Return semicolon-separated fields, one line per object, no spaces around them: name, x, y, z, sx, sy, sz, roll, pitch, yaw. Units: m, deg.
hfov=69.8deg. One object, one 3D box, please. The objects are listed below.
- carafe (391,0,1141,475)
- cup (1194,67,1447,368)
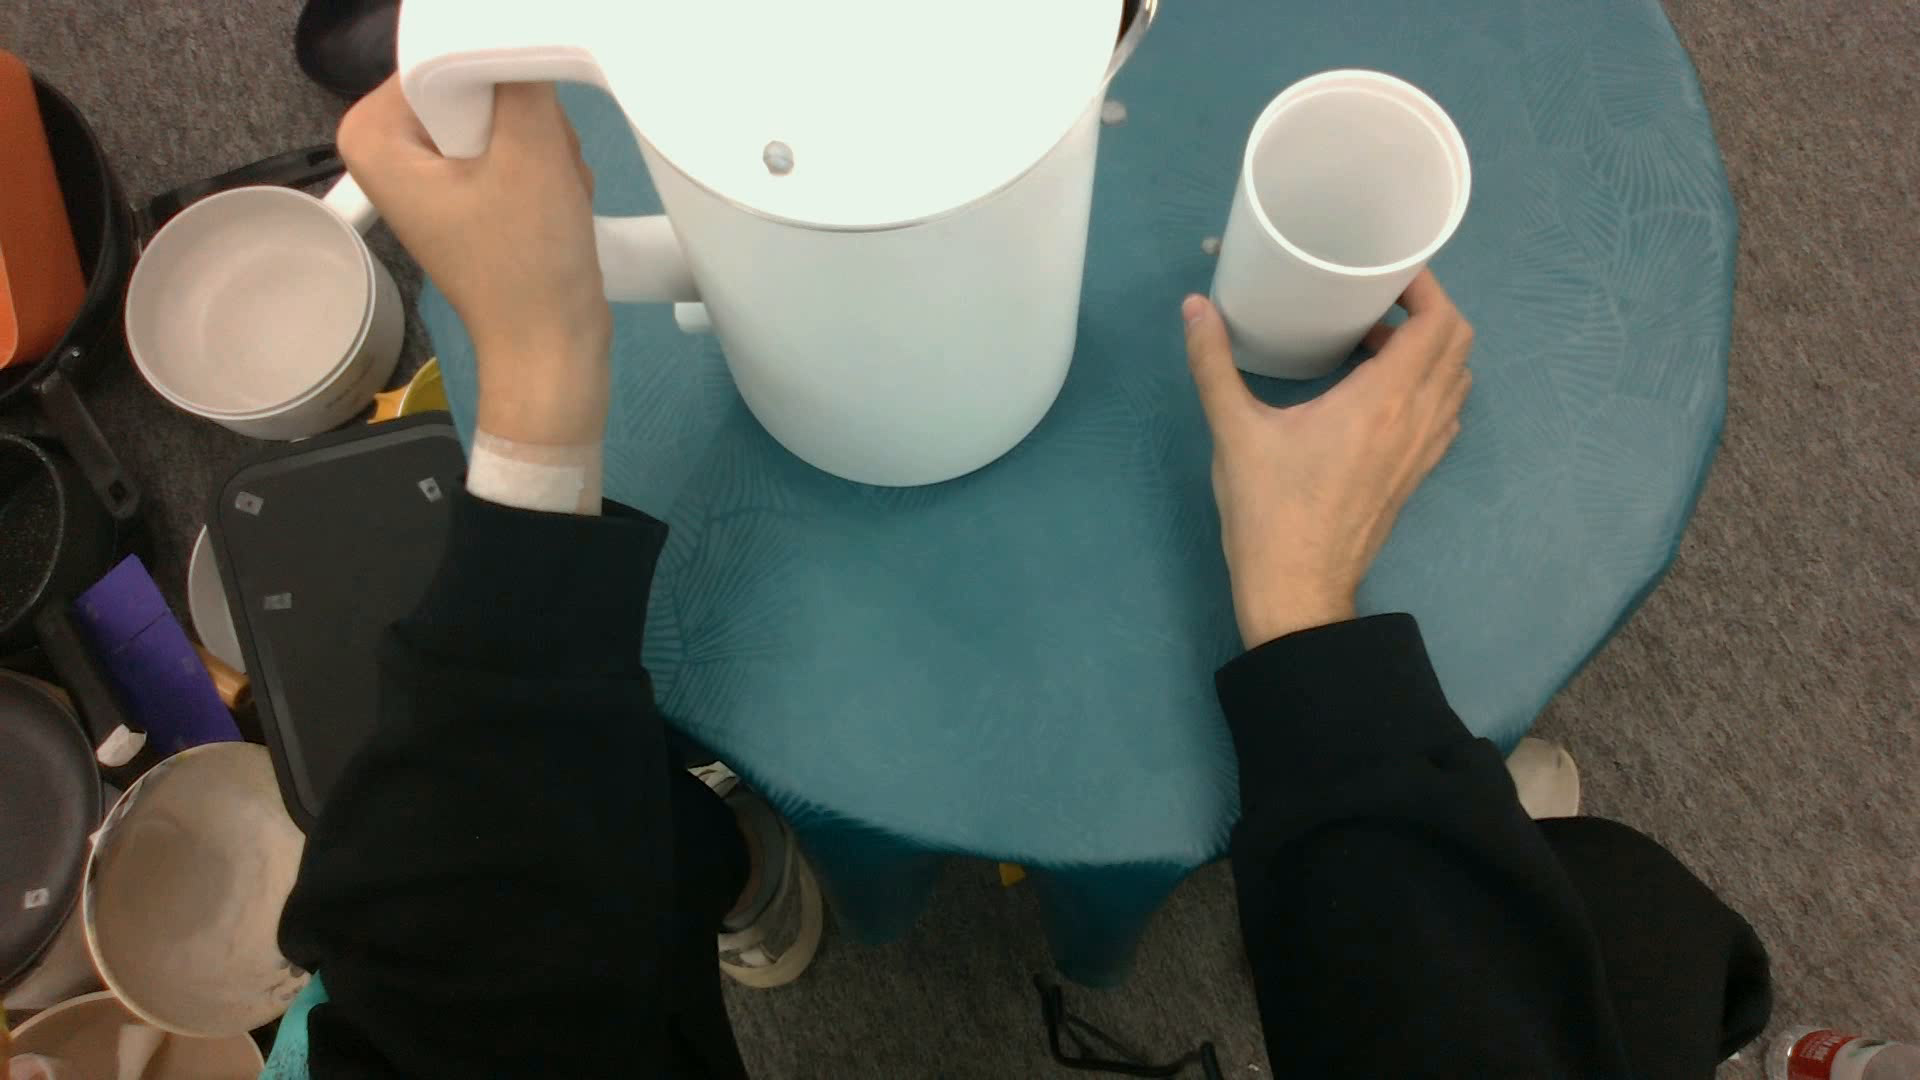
carafe;-0.057;-0.128;0.481;0.213;0.239;0.152;-3;75;-2
cup;0.139;-0.124;0.565;0.081;0.125;0.082;0;77;0
